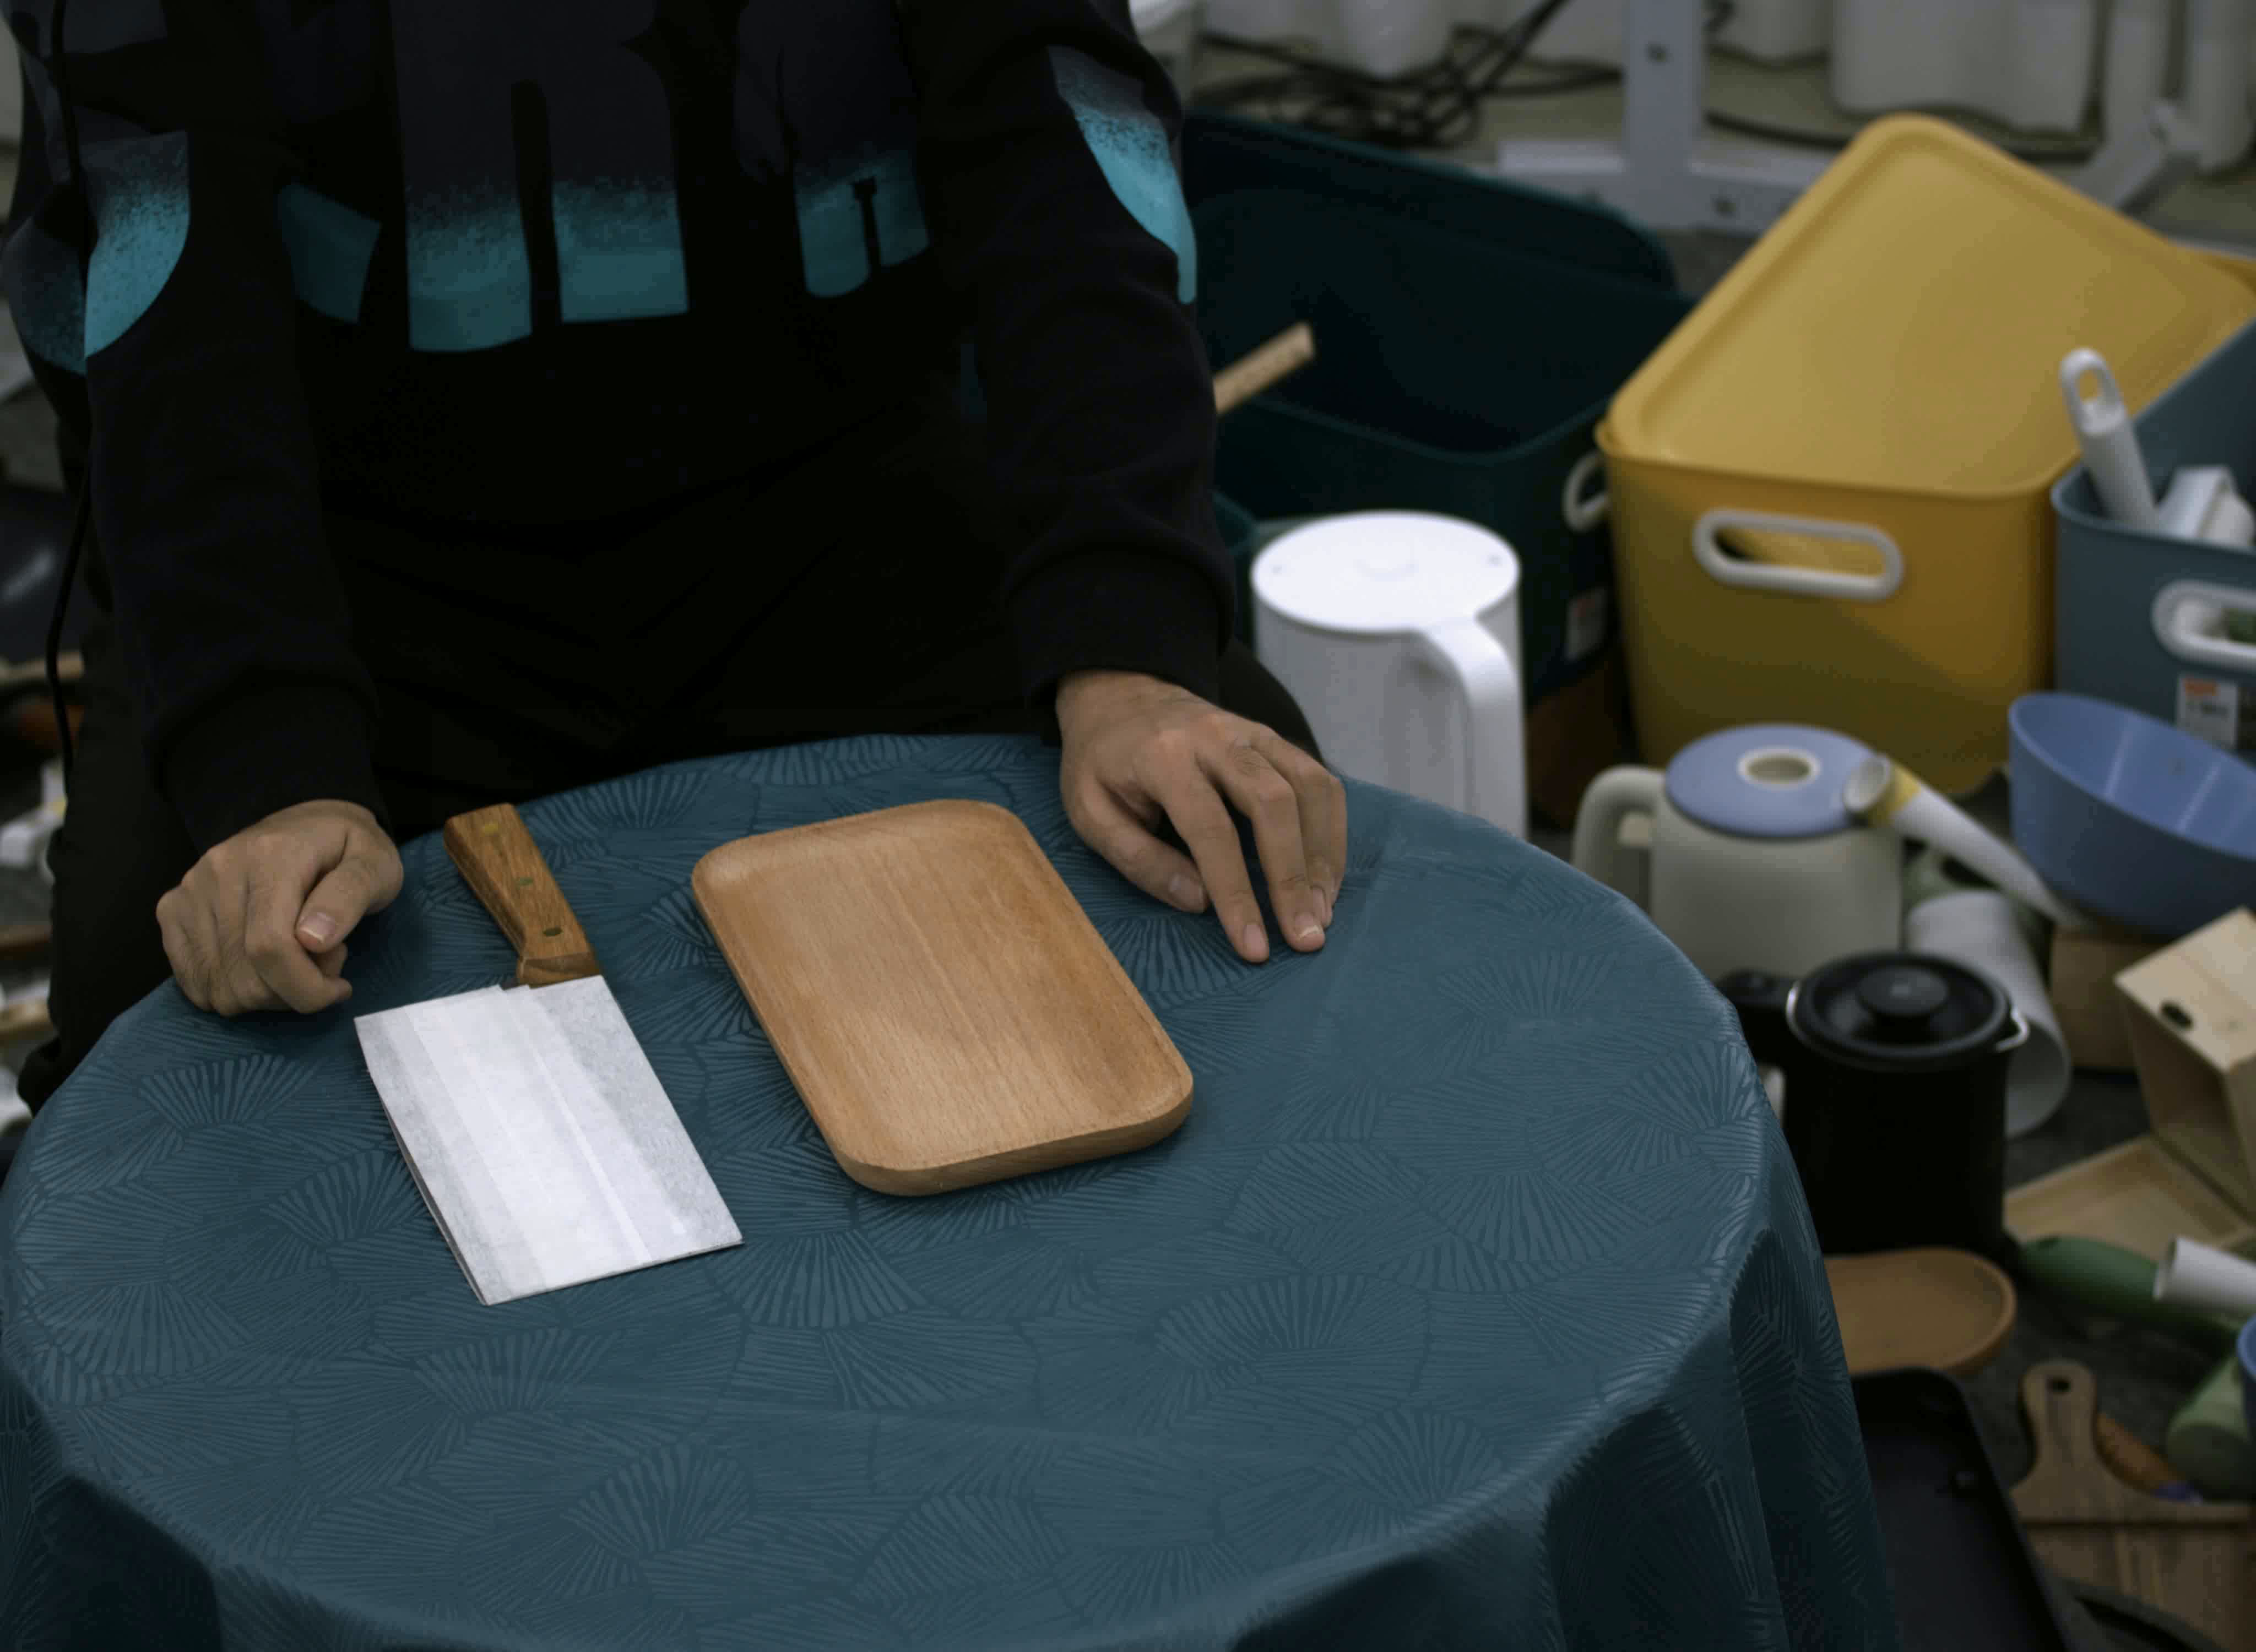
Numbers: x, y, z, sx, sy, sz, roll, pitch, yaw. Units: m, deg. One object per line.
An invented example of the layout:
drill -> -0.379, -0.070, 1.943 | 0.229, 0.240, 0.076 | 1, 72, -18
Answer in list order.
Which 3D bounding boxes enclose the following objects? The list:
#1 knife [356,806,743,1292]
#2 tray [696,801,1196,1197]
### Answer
knife -> -0.217, 0.077, 1.954 | 0.093, 0.021, 0.308 | -13, 31, -15
tray -> -0.067, 0.058, 1.974 | 0.130, 0.022, 0.253 | -8, 27, -14
